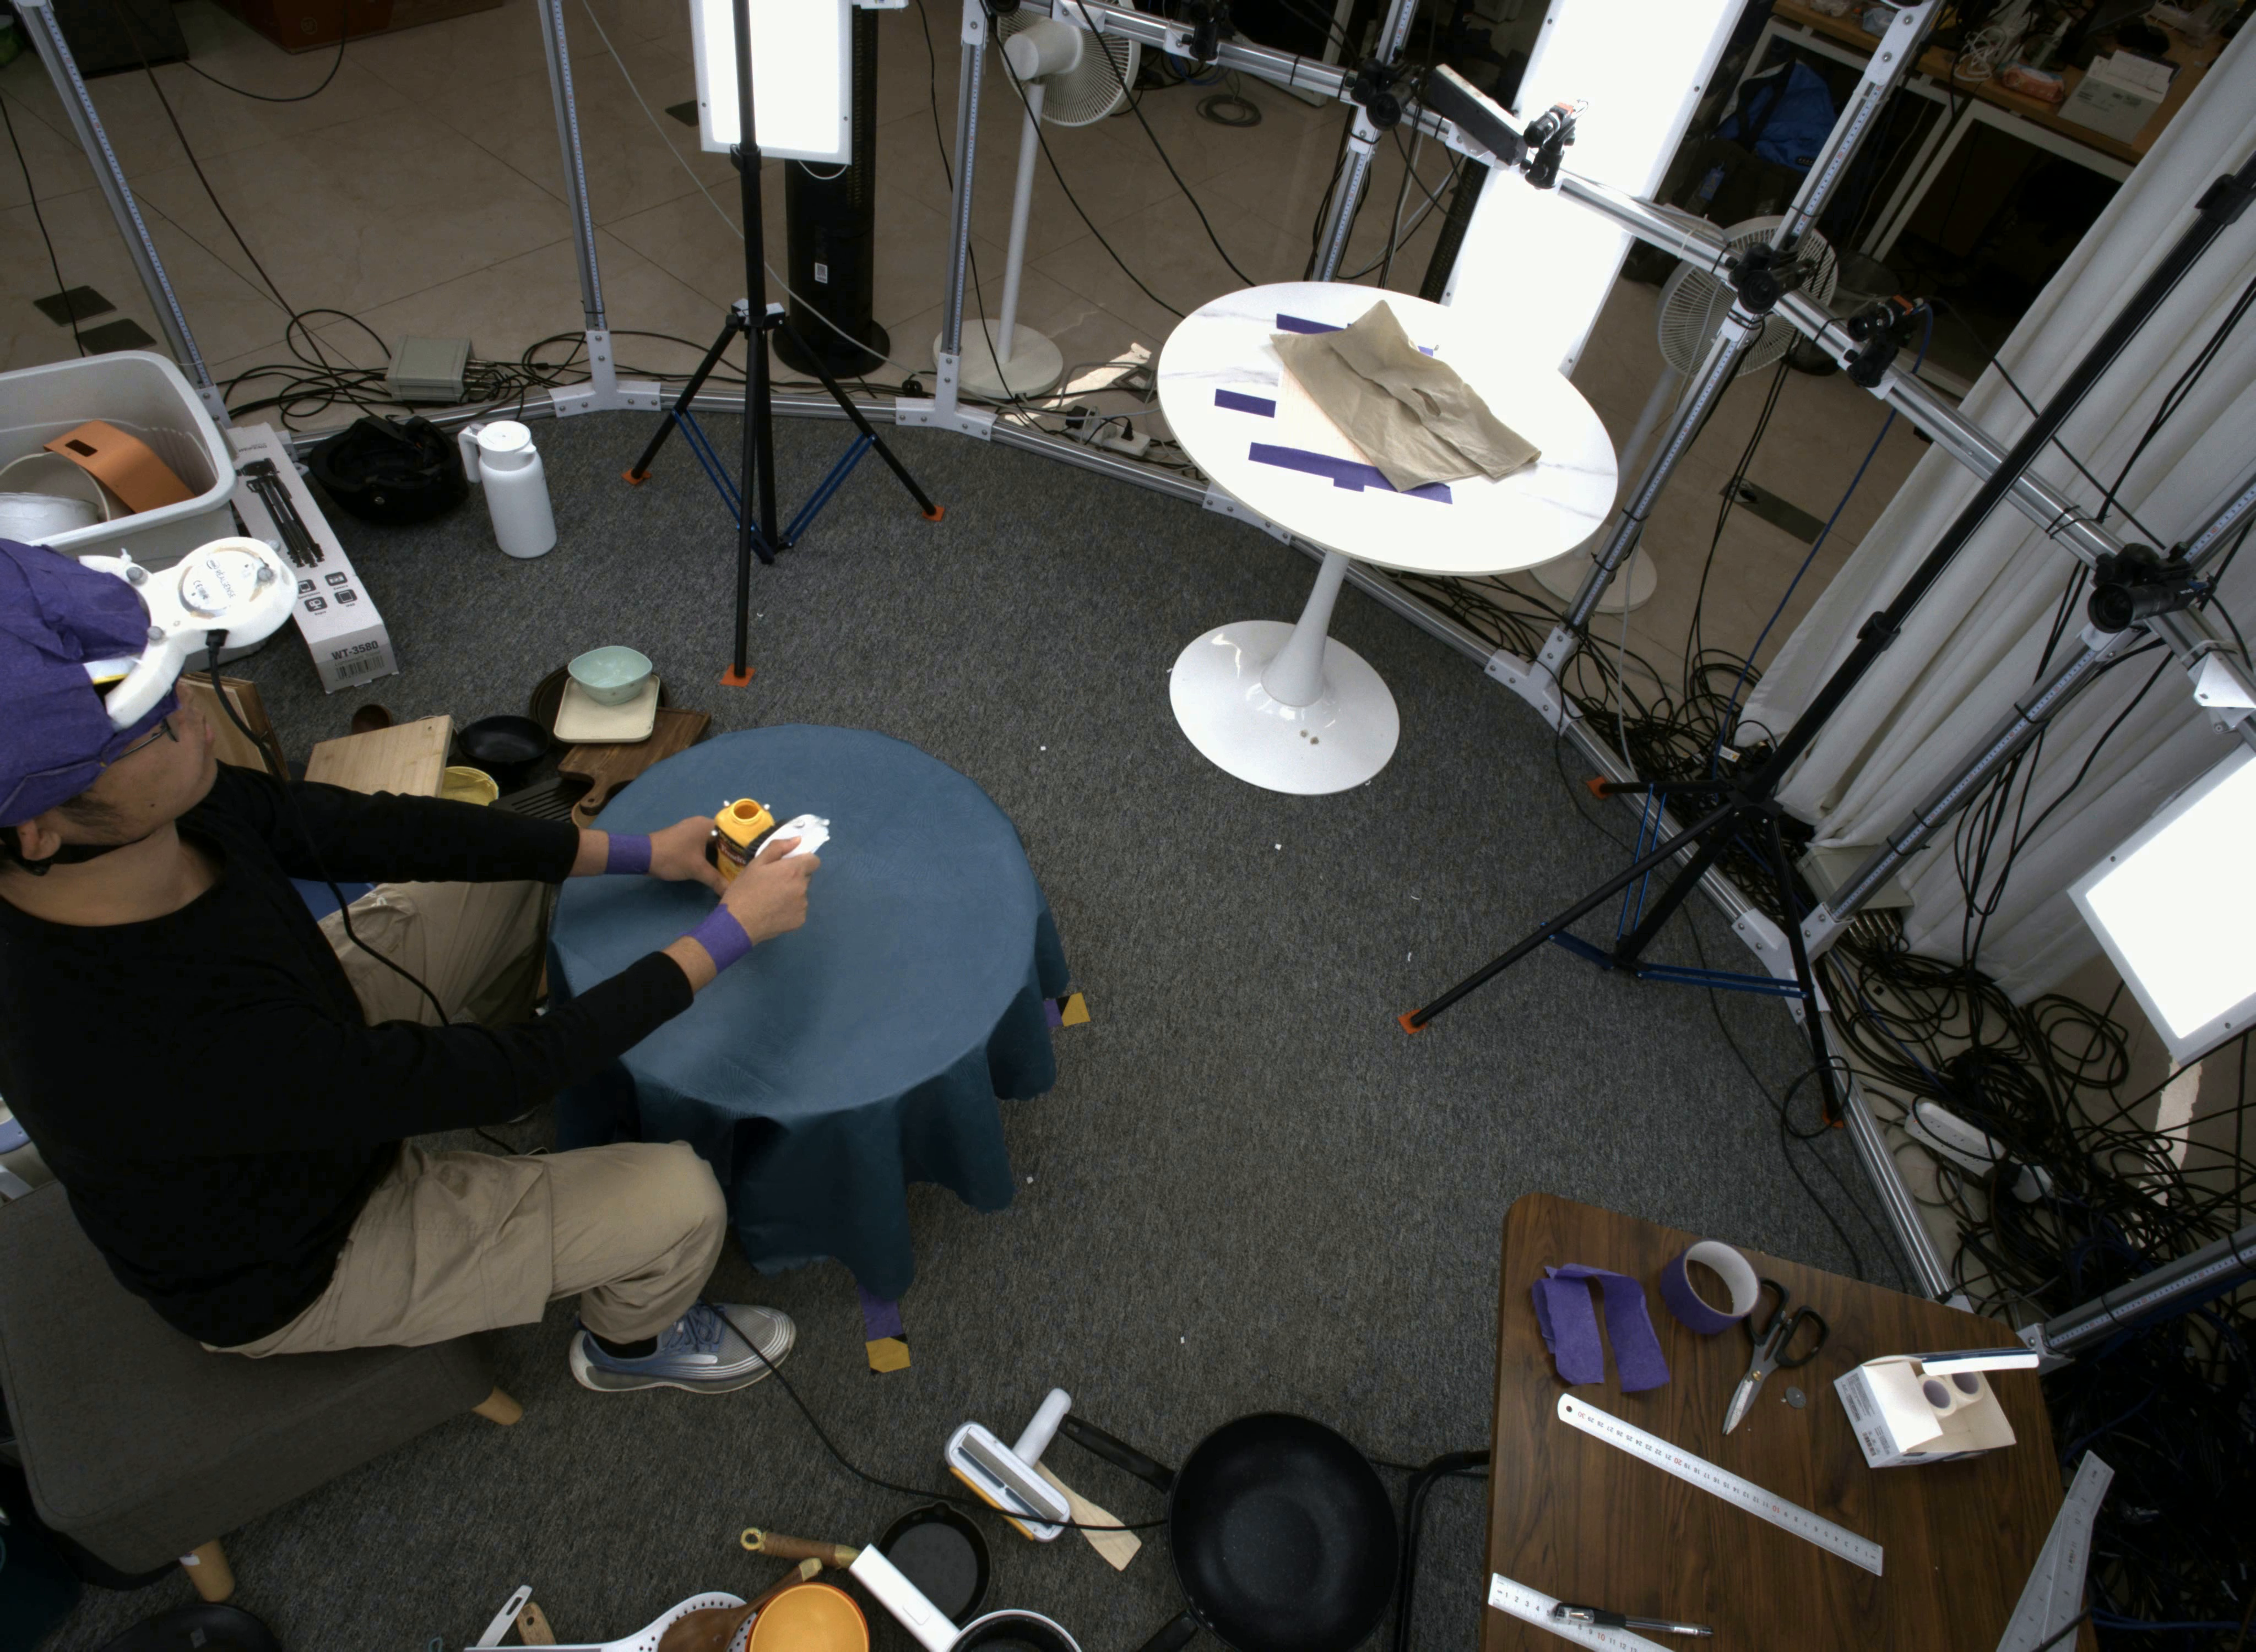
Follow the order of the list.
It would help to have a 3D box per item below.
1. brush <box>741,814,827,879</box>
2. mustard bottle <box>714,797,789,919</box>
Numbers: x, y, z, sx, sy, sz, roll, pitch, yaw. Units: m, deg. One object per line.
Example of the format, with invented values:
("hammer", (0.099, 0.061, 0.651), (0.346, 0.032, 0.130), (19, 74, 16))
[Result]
("brush", (-0.396, 0.023, 1.516), (0.070, 0.052, 0.099), (0, 34, 47))
("mustard bottle", (-0.464, 0.032, 1.586), (0.096, 0.175, 0.059), (34, 56, 13))
